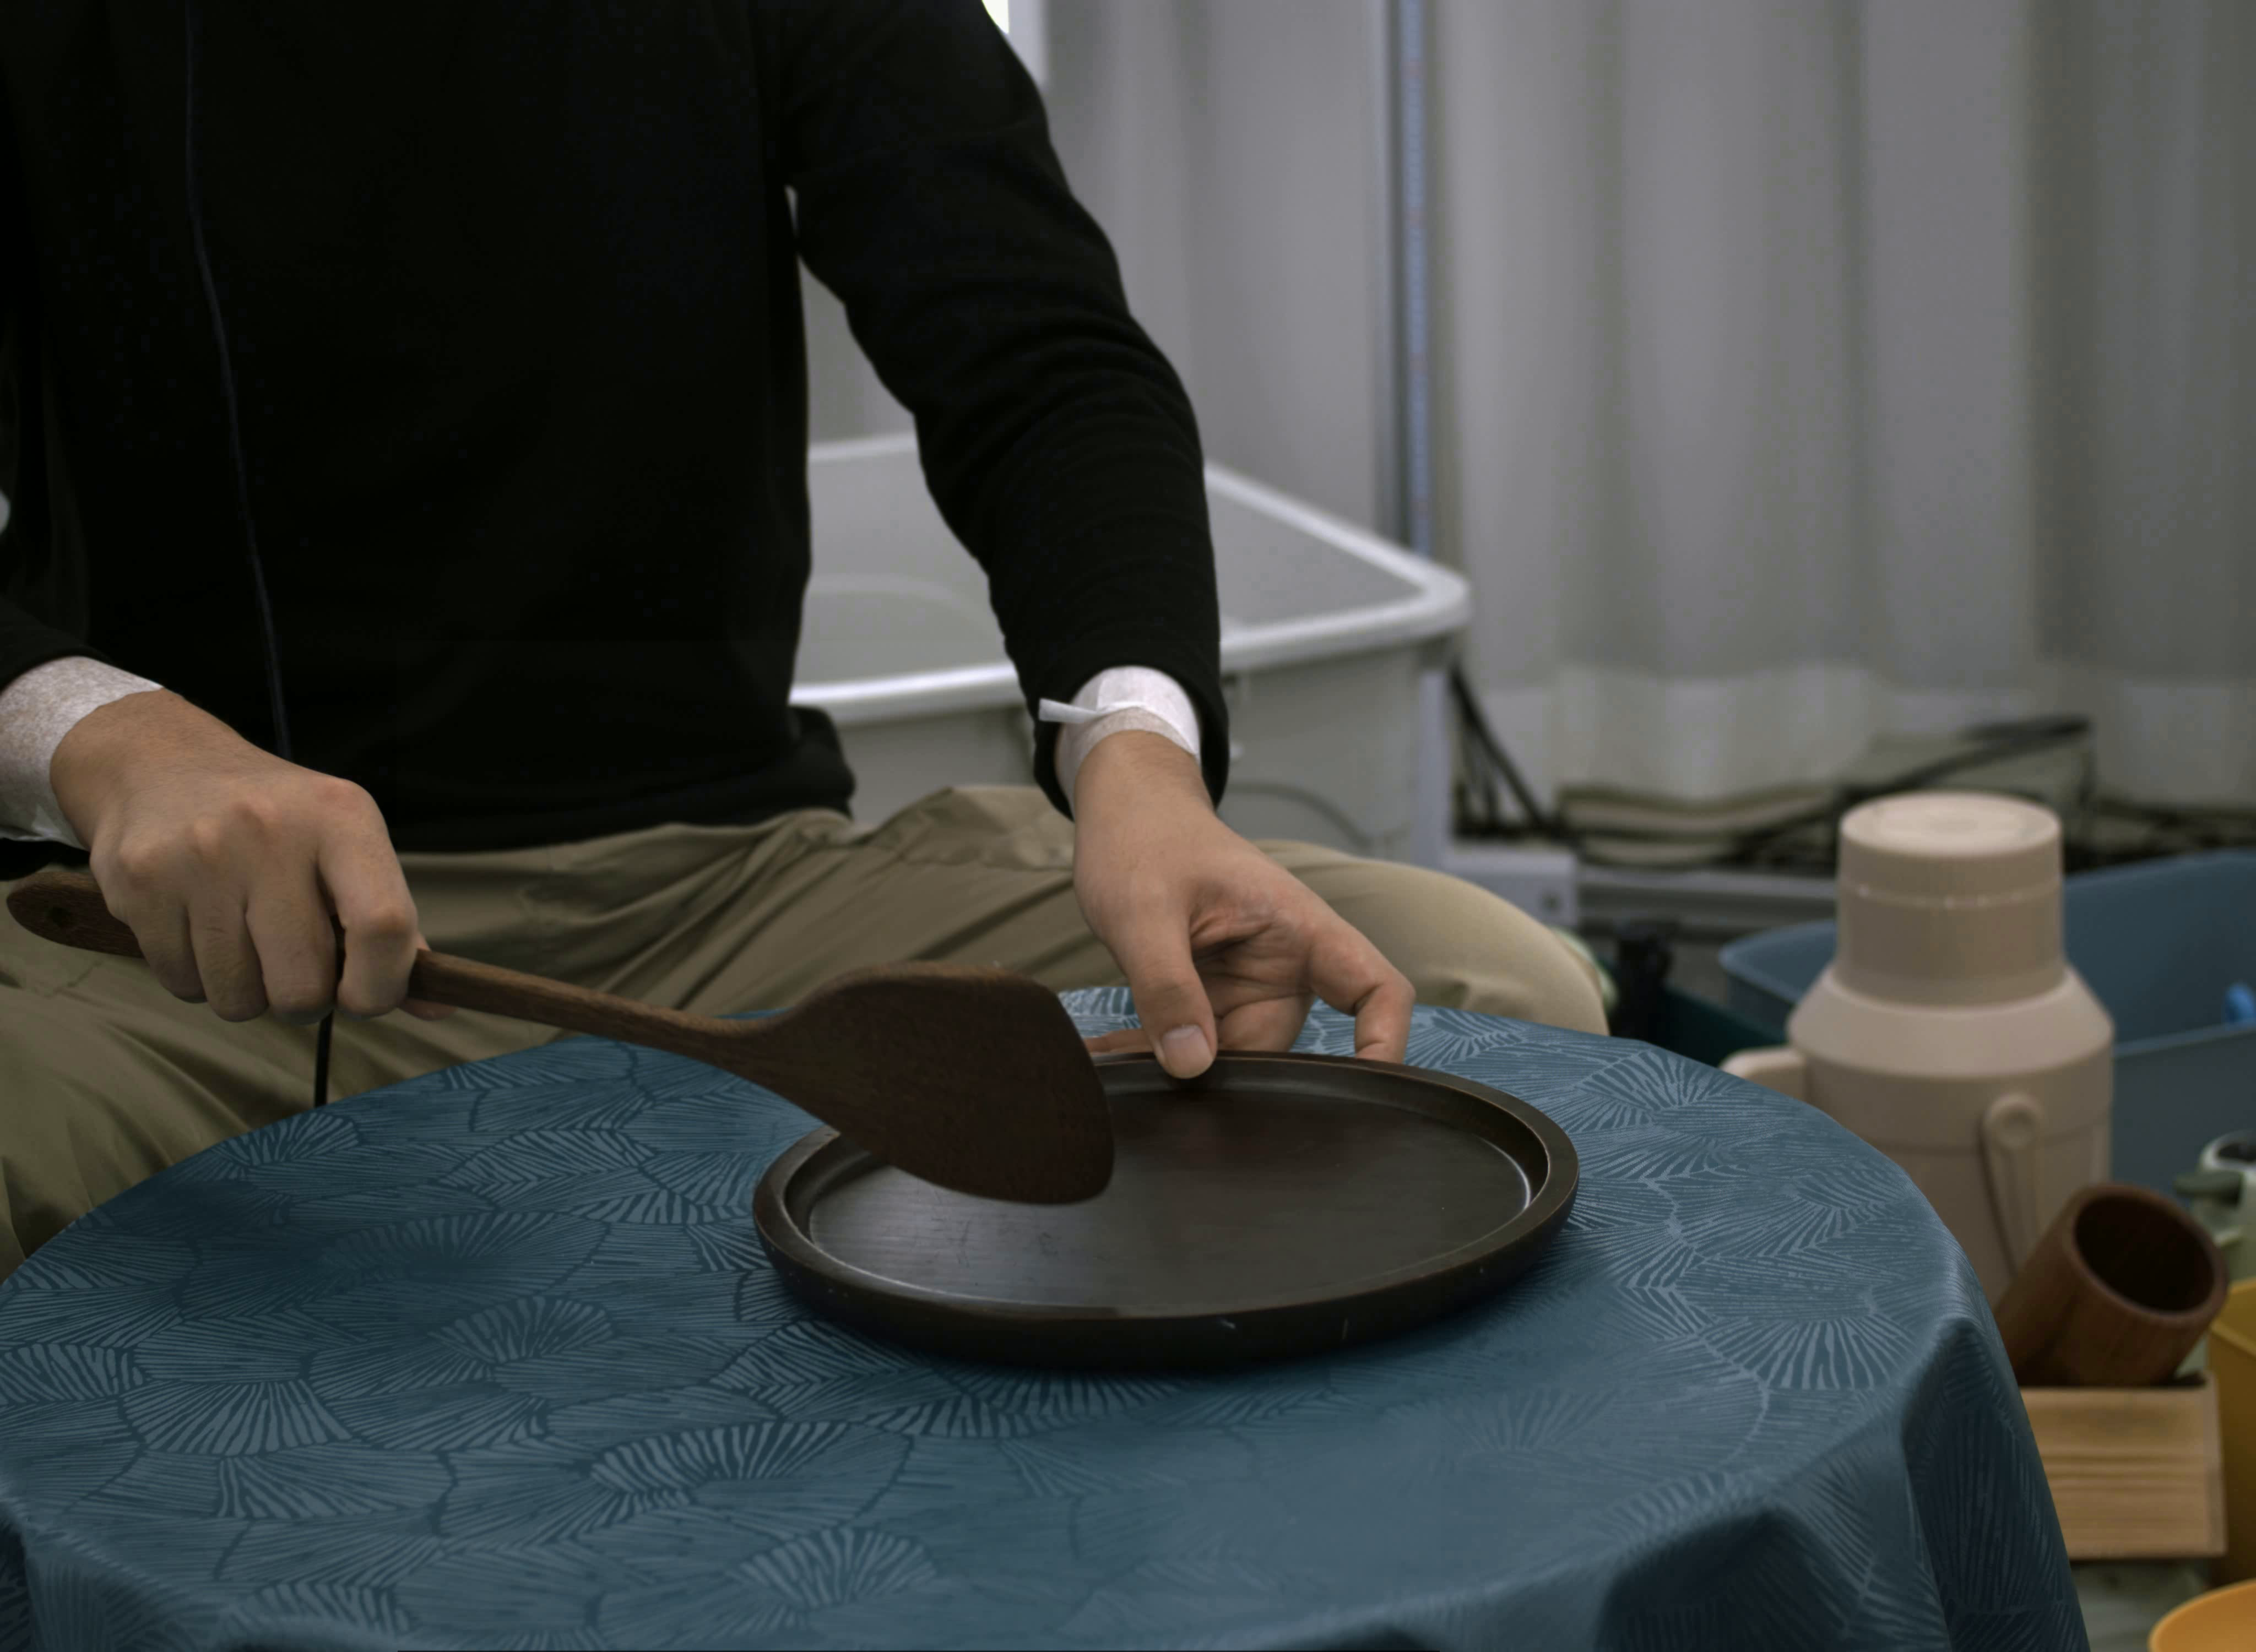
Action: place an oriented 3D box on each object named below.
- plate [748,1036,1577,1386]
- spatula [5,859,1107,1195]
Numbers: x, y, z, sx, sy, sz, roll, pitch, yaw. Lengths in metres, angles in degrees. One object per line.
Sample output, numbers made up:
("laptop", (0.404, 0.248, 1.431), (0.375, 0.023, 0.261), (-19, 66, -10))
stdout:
("plate", (0.011, 0.116, 1.665), (0.254, 0.029, 0.256), (-4, 16, 1))
("spatula", (-0.179, 0.049, 1.640), (0.387, 0.095, 0.016), (10, 45, 26))
